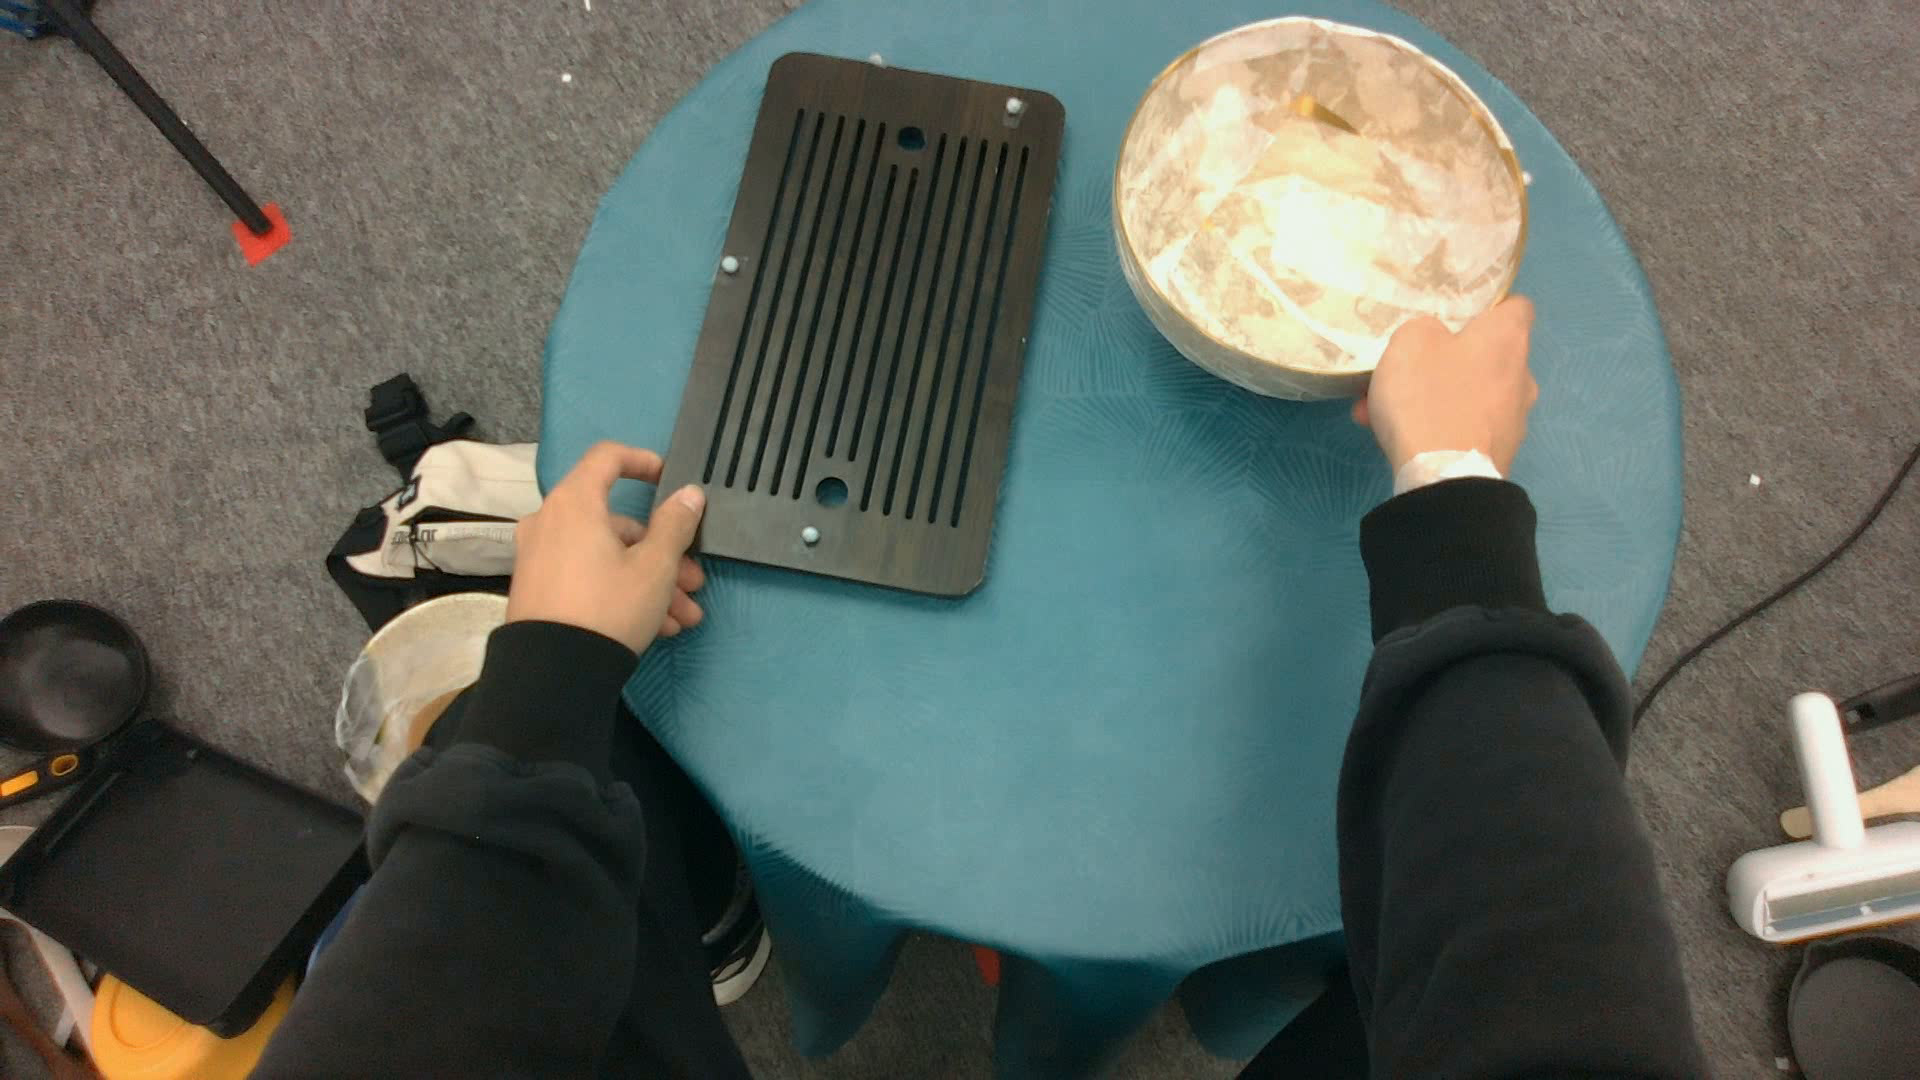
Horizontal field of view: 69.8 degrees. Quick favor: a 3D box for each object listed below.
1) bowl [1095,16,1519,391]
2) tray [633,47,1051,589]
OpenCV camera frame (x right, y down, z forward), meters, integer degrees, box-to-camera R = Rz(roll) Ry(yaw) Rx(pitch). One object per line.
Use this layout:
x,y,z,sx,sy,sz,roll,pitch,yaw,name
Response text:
0.164,-0.156,0.708,0.215,0.094,0.215,1,69,-4,bowl
-0.056,-0.127,0.736,0.170,0.018,0.307,10,69,2,tray
